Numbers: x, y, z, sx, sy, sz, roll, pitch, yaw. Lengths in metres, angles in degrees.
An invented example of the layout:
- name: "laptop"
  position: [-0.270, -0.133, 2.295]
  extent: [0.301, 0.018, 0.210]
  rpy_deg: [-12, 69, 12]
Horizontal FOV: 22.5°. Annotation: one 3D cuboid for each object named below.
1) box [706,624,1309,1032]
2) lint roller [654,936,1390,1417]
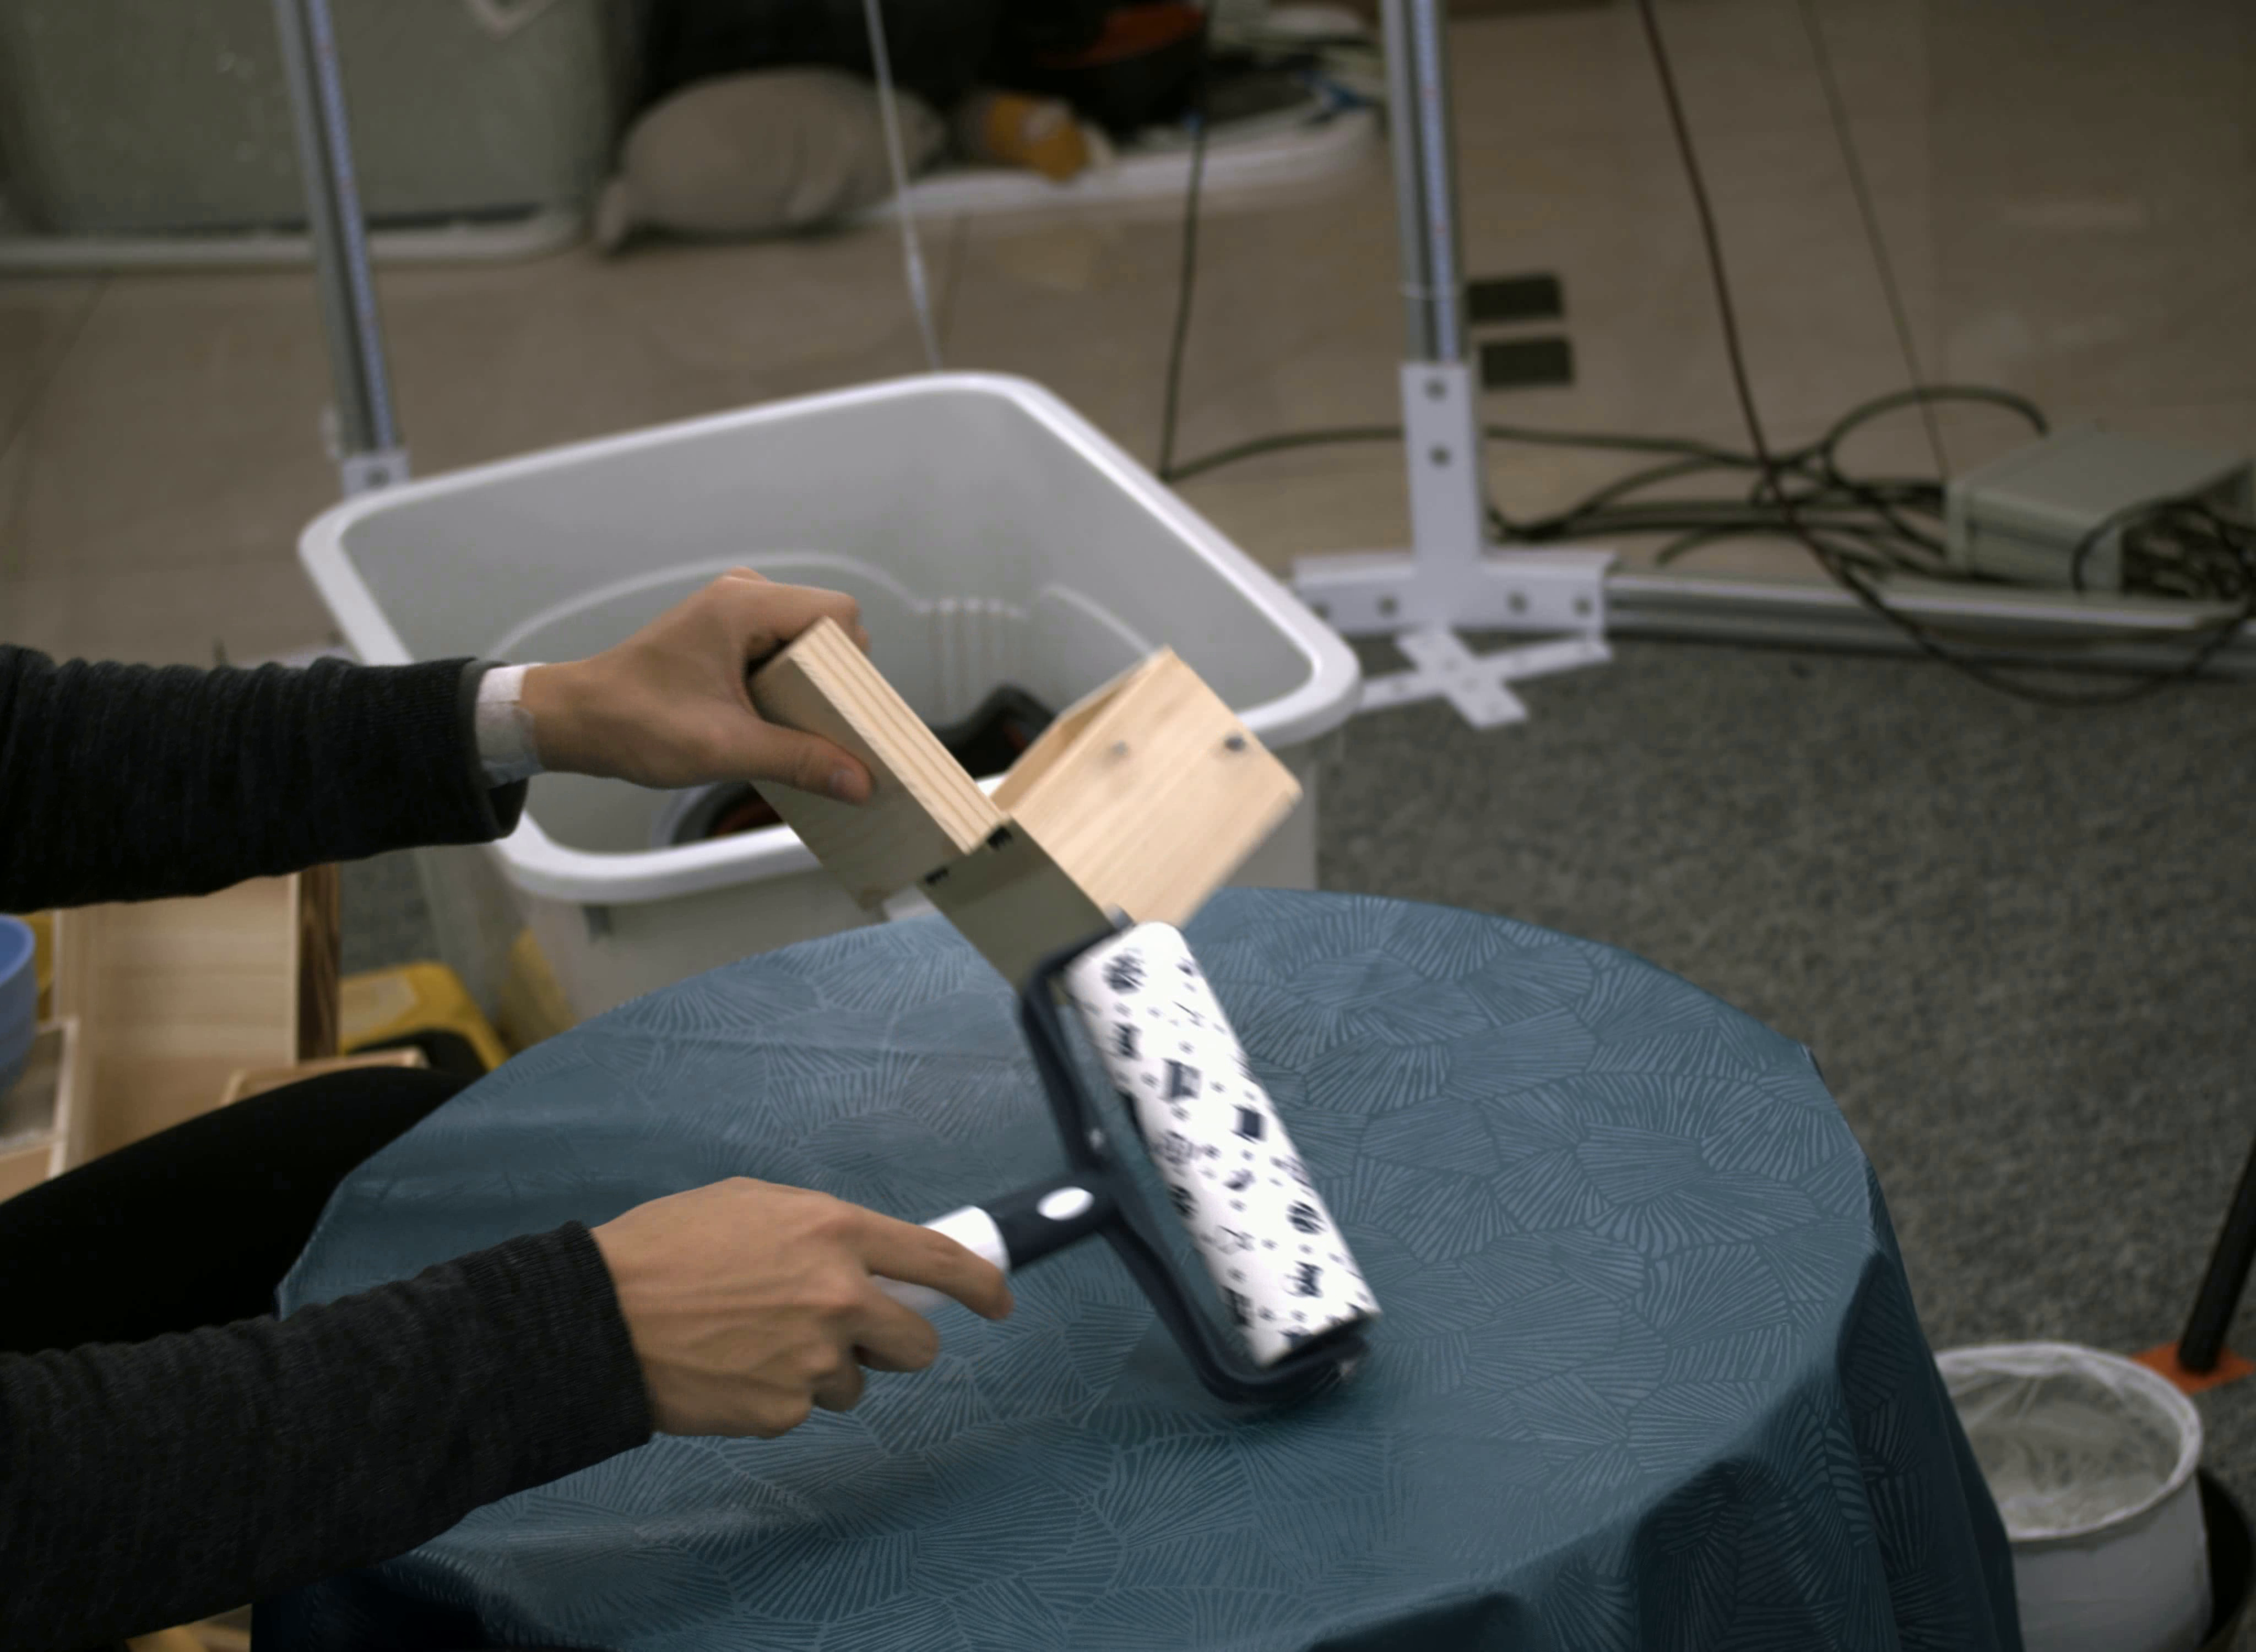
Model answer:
- name: "box"
  position: [-0.047, -0.023, 2.184]
  extent: [0.132, 0.185, 0.103]
  rpy_deg: [-46, 9, -28]
- name: "lint roller"
  position: [-0.049, 0.151, 1.975]
  extent: [0.246, 0.051, 0.174]
  rpy_deg: [-20, 70, -22]
